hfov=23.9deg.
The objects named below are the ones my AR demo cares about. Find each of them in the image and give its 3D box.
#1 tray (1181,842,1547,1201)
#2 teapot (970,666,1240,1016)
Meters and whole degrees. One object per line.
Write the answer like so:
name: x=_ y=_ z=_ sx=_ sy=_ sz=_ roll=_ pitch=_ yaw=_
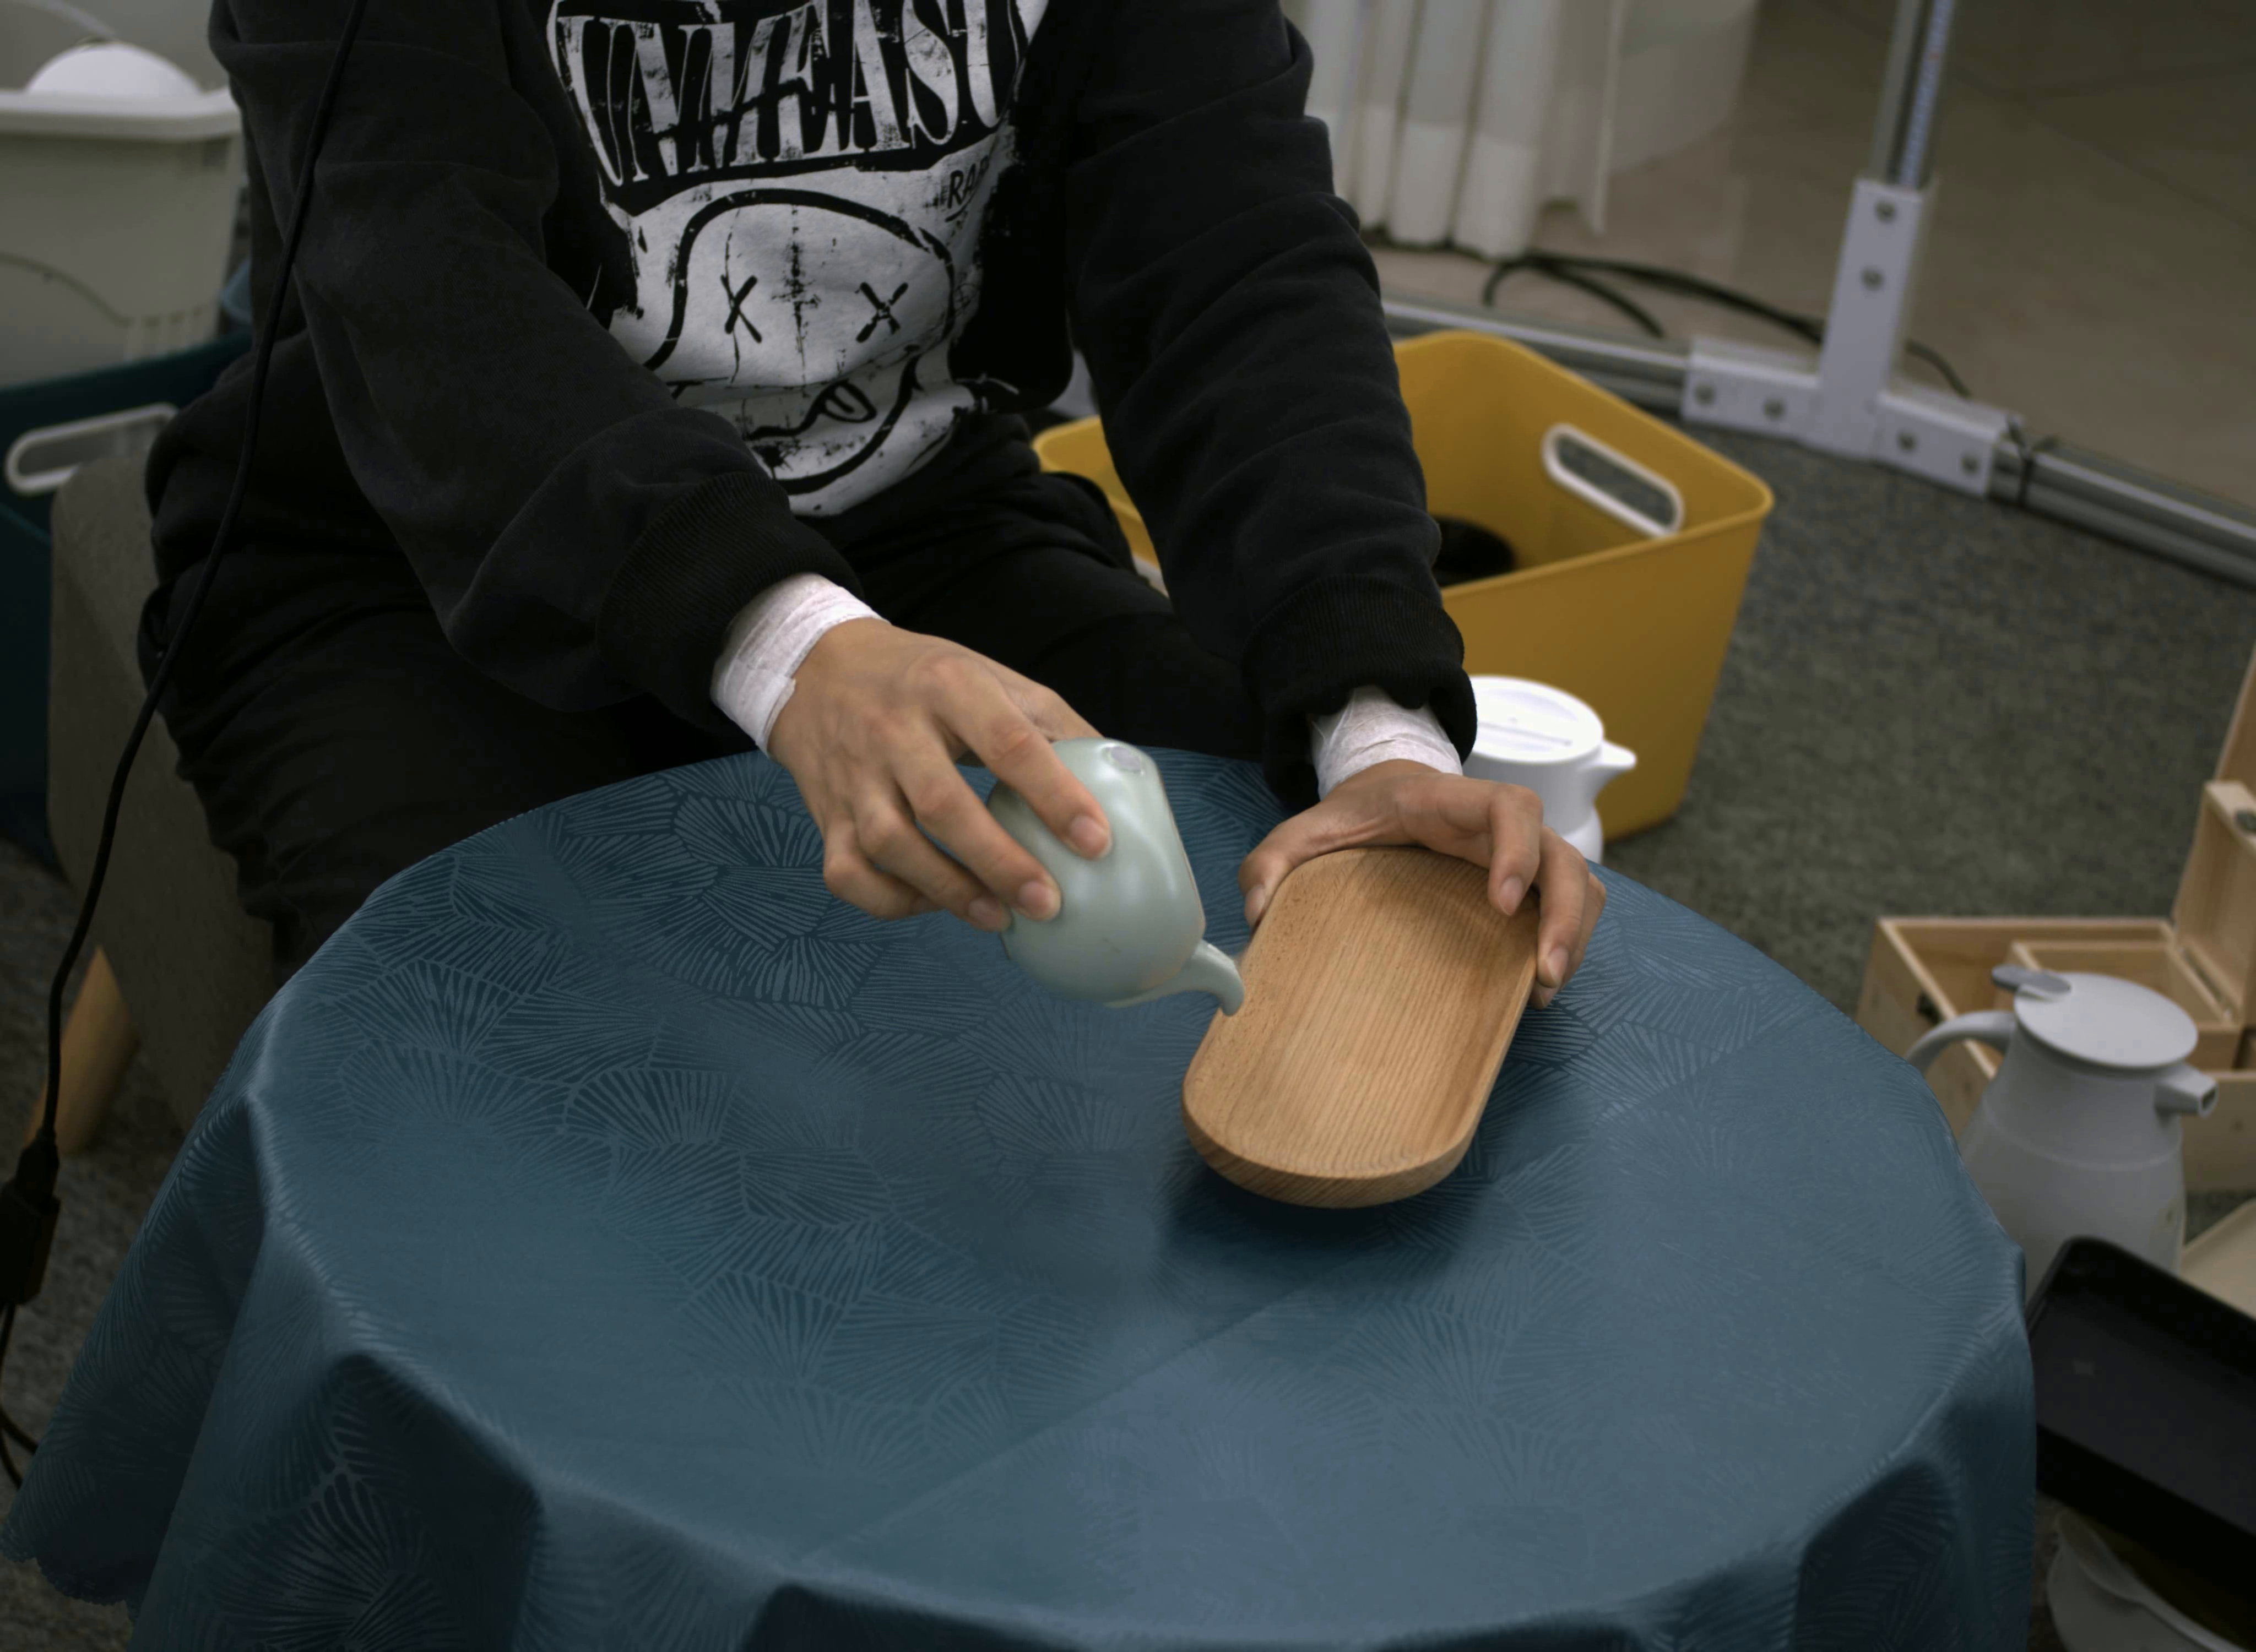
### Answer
tray: x=0.084 y=0.066 z=1.868 sx=0.102 sy=0.020 sz=0.232 roll=11 pitch=28 yaw=11
teapot: x=-0.012 y=0.013 z=1.757 sx=0.074 sy=0.143 sz=0.089 roll=-15 pitch=31 yaw=1
